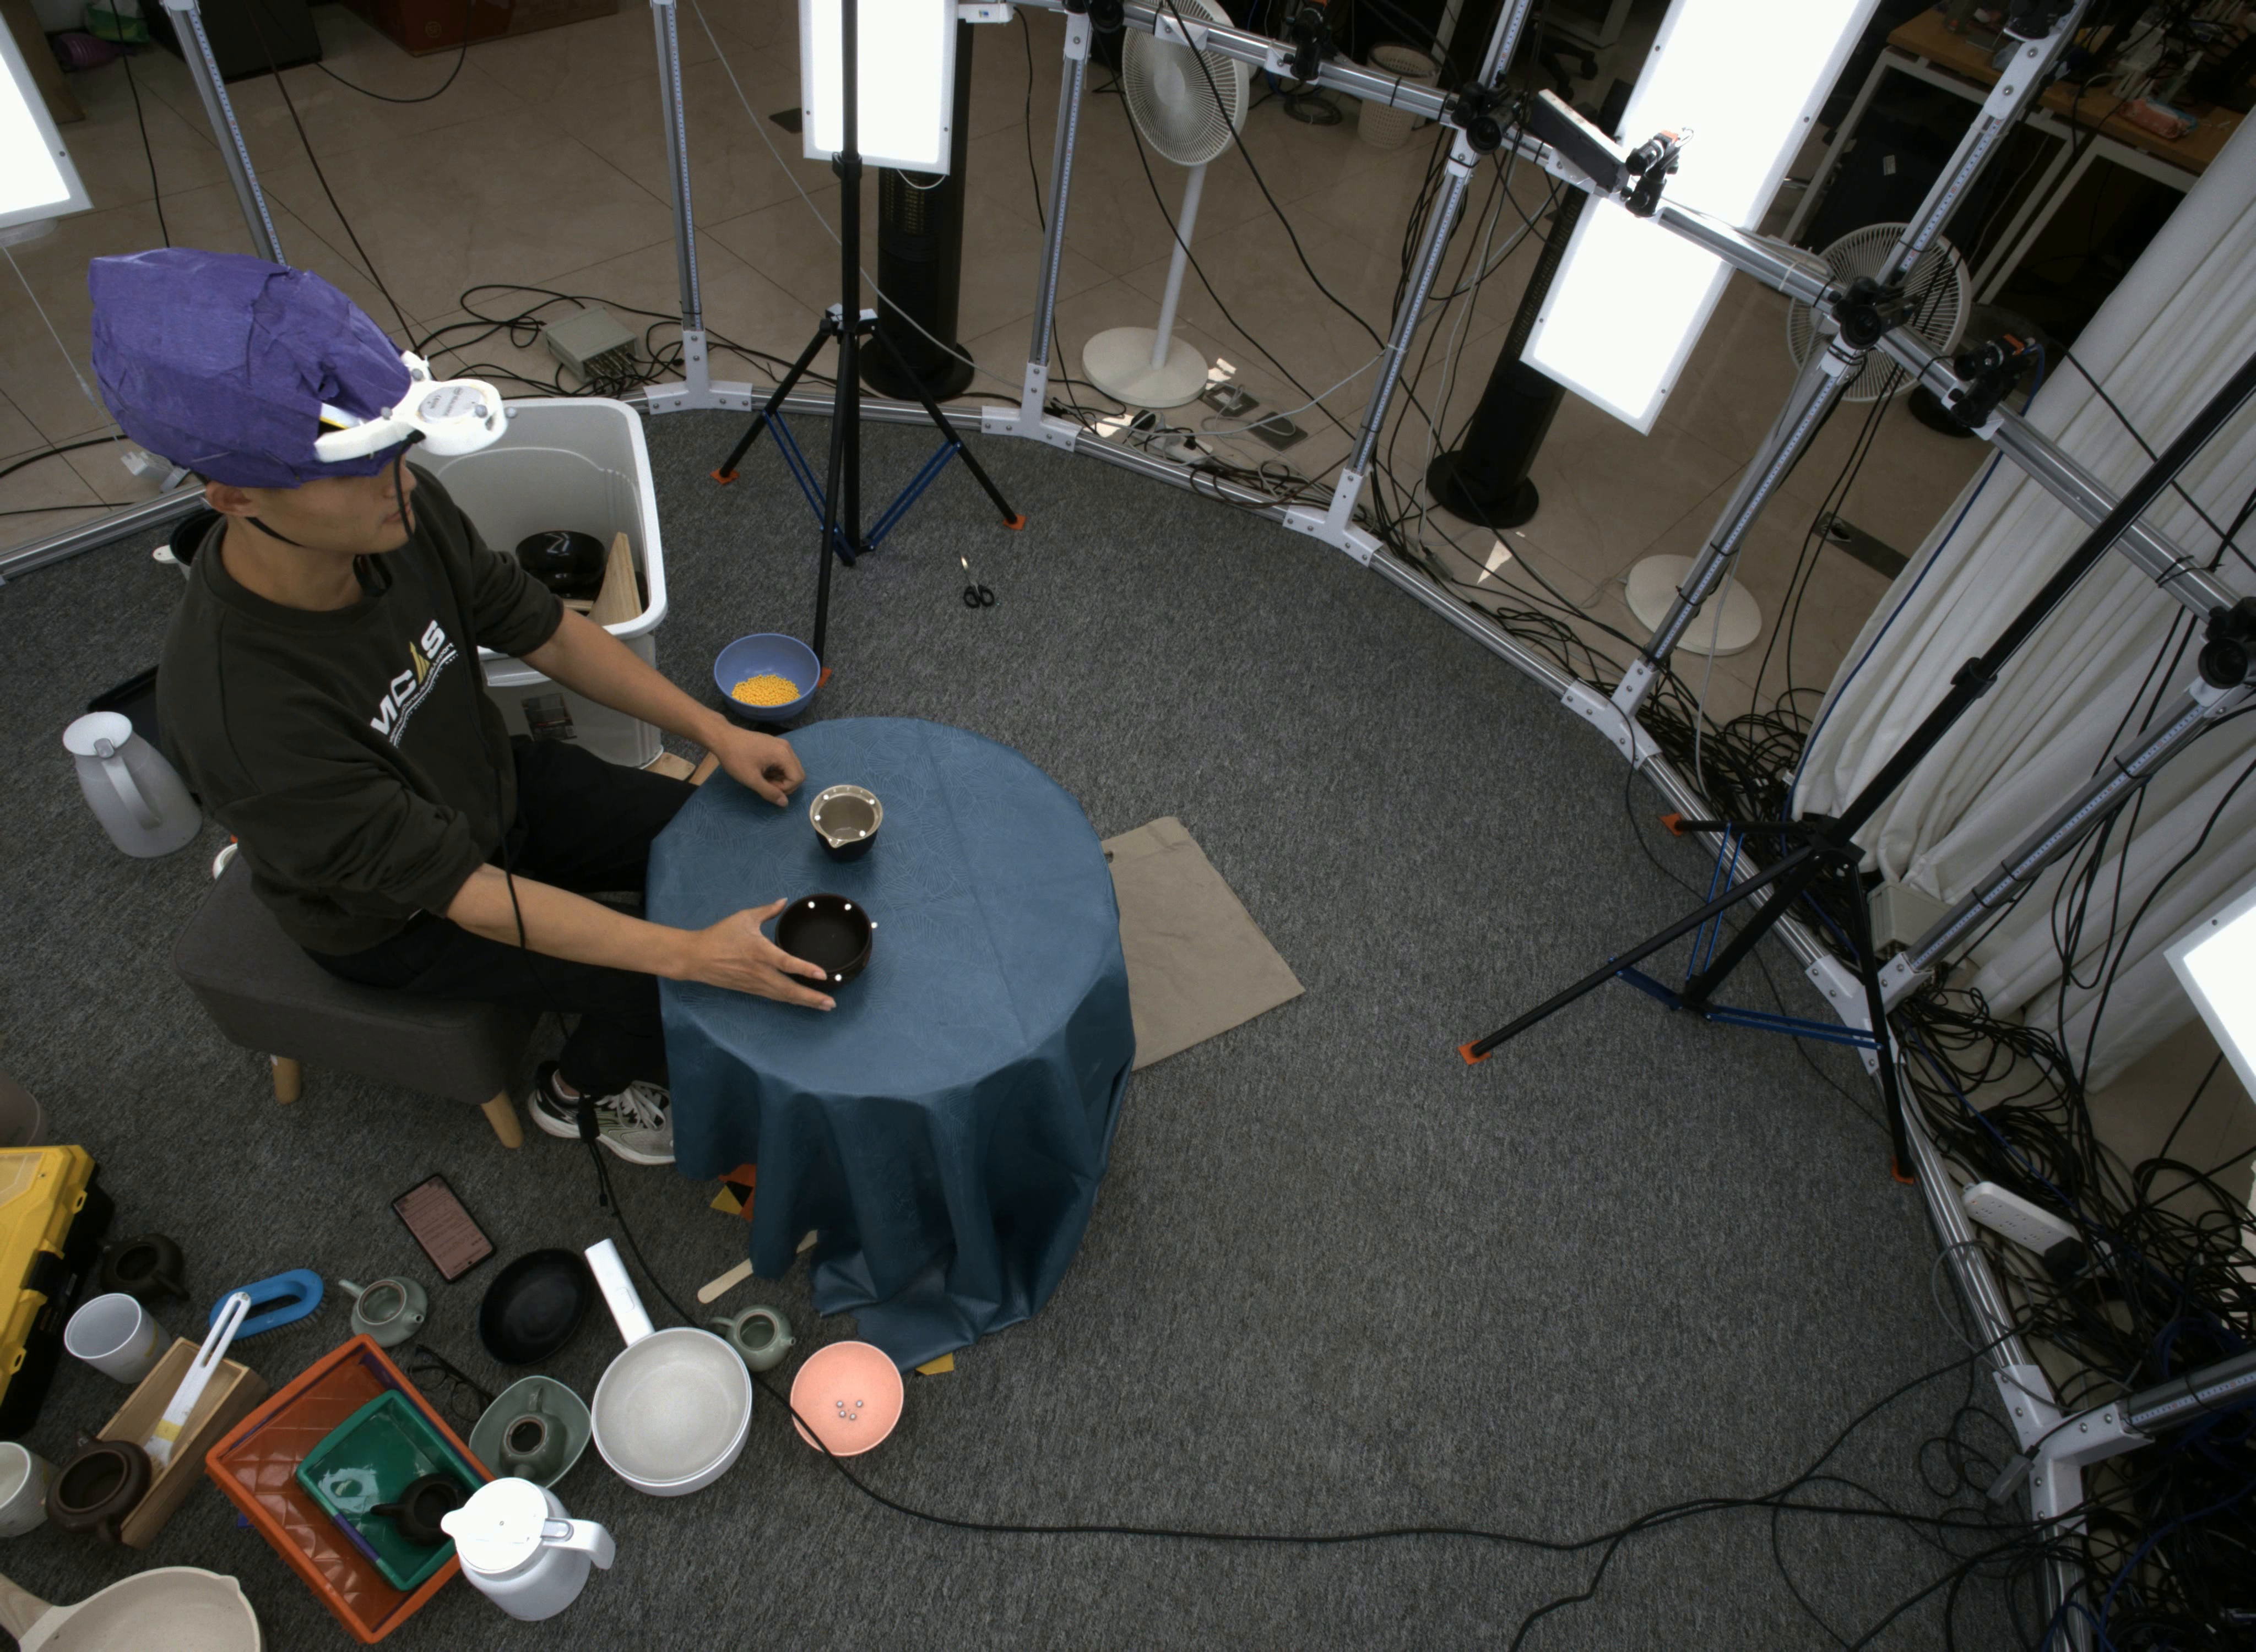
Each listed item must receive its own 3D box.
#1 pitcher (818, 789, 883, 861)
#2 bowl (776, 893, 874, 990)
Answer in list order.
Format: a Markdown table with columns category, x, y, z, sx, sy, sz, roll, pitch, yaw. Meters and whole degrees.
| category | x | y | z | sx | sy | sz | roll | pitch | yaw |
| --- | --- | --- | --- | --- | --- | --- | --- | --- | --- |
| pitcher | -0.365 | 0.006 | 1.697 | 0.083 | 0.073 | 0.095 | 18 | 51 | 1 |
| bowl | -0.370 | 0.147 | 1.591 | 0.117 | 0.071 | 0.116 | 6 | 52 | -6 |
